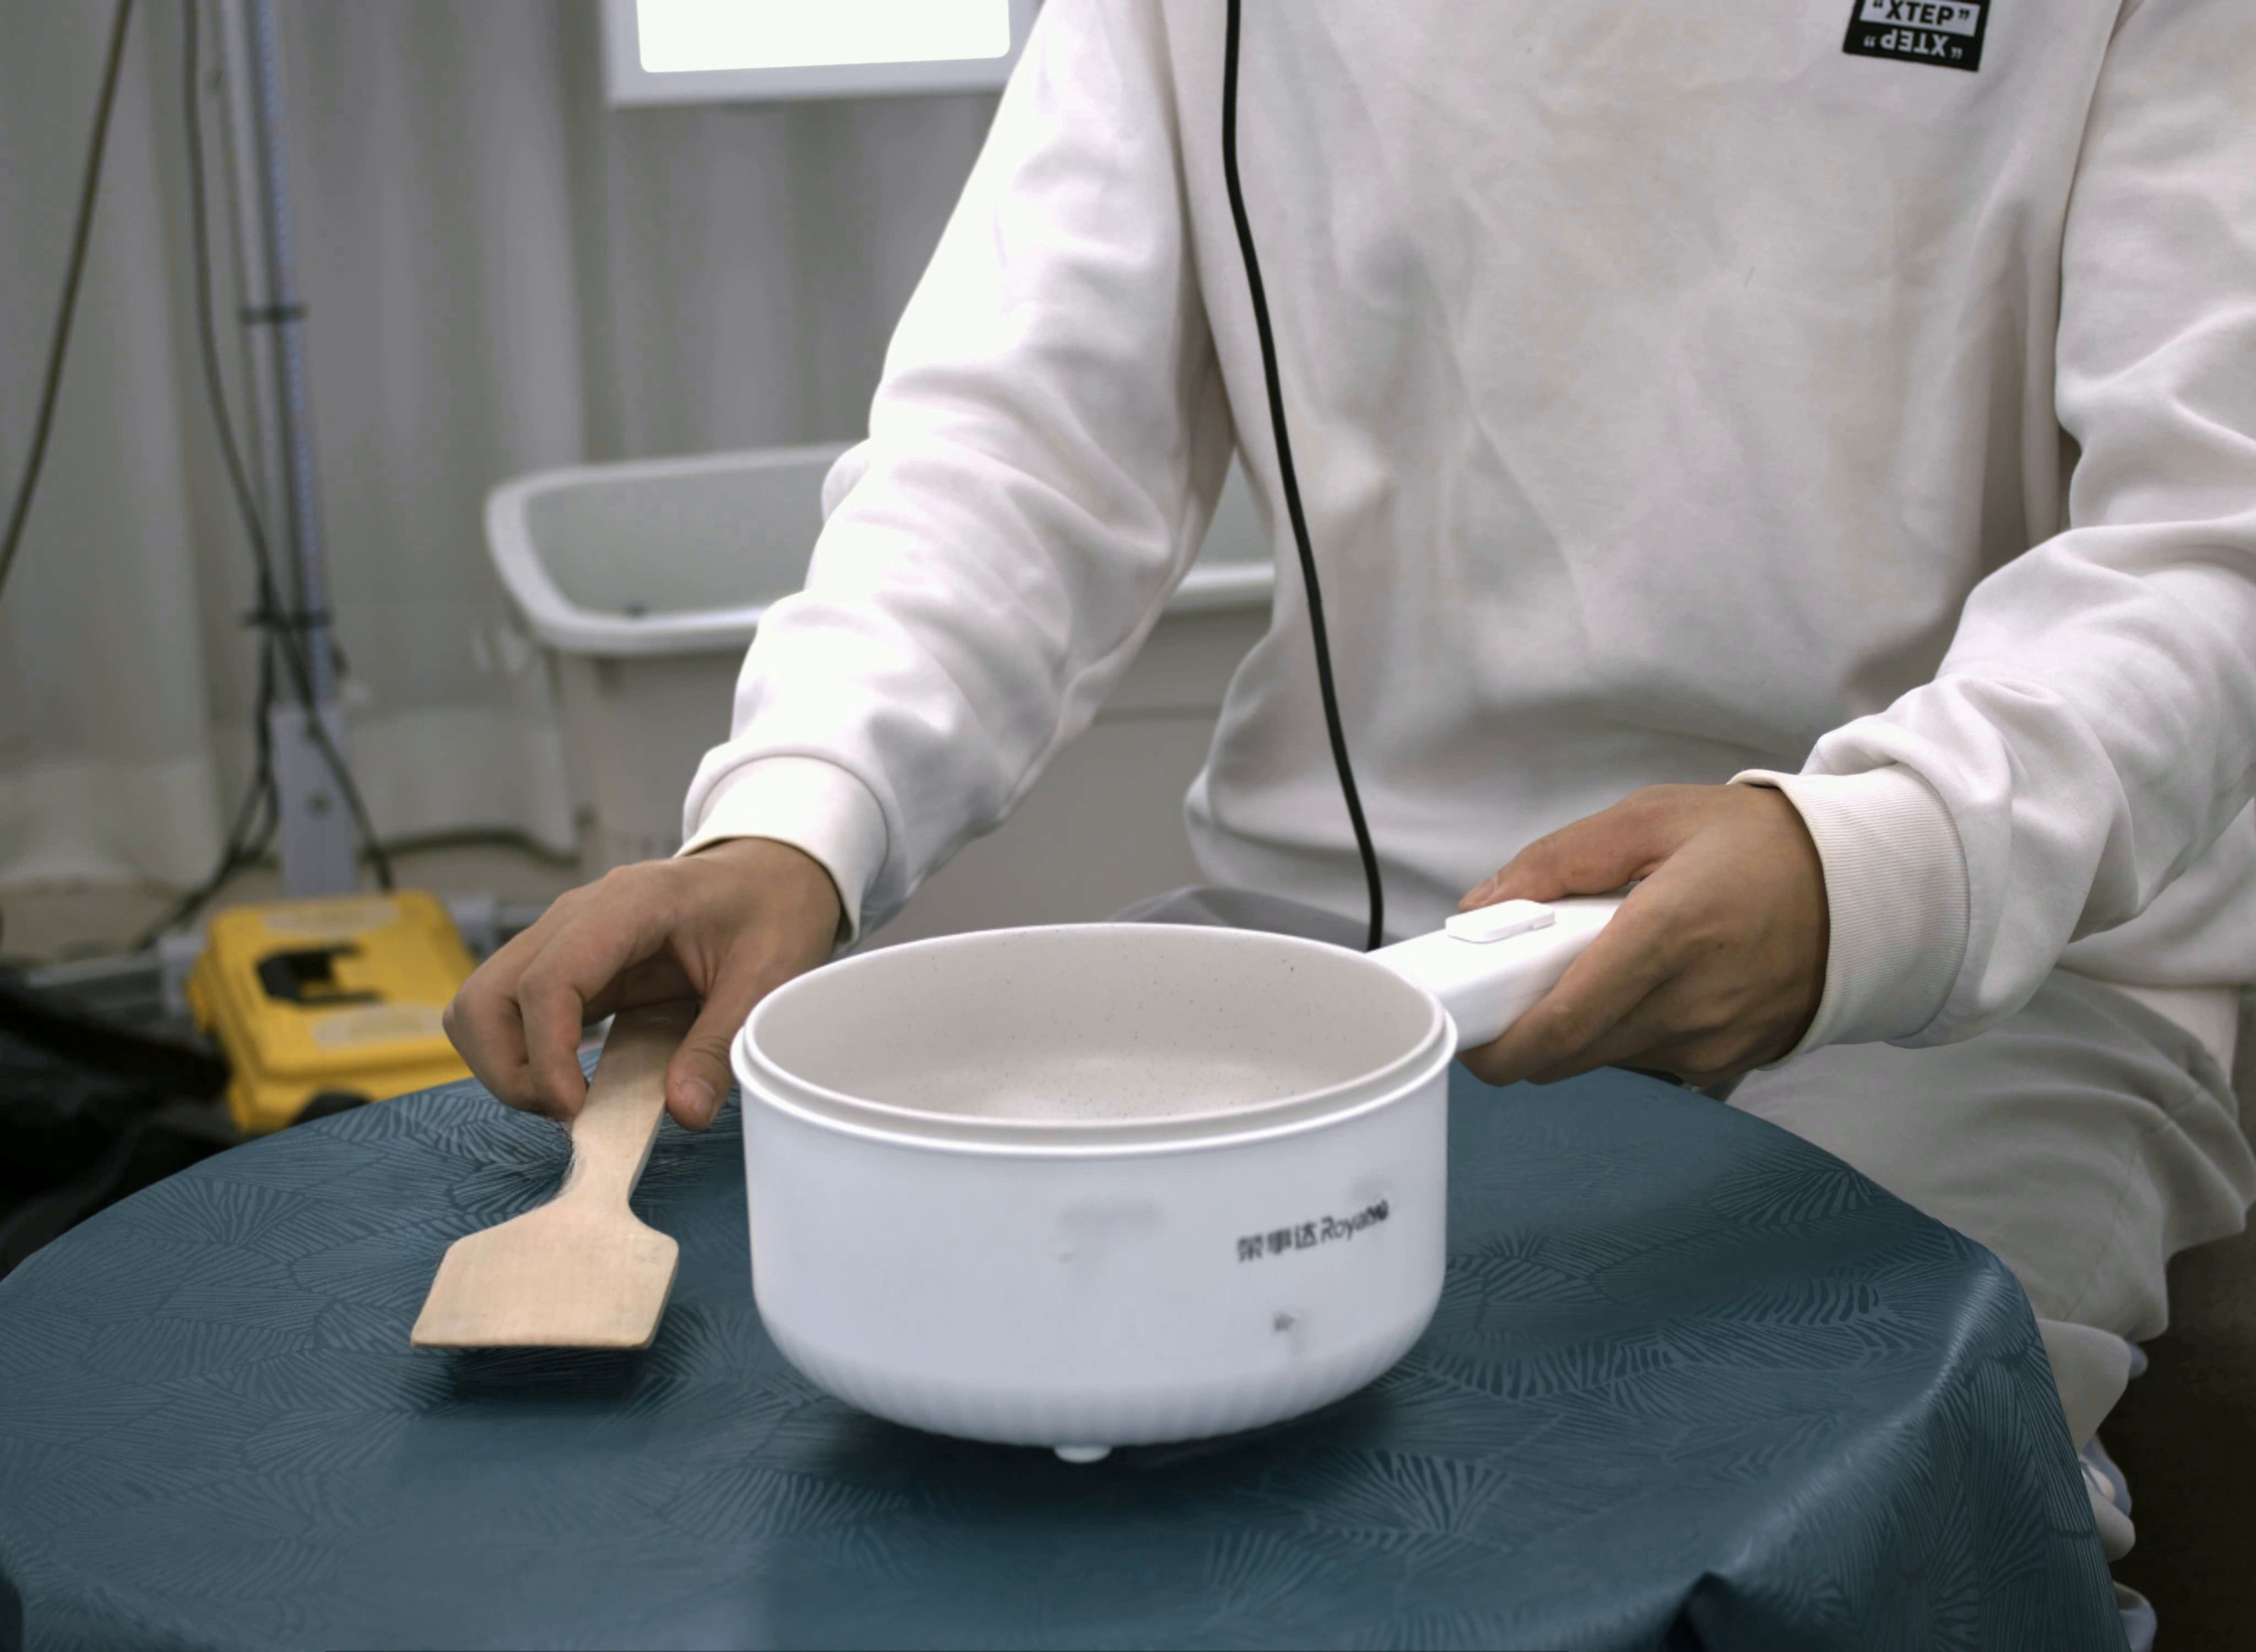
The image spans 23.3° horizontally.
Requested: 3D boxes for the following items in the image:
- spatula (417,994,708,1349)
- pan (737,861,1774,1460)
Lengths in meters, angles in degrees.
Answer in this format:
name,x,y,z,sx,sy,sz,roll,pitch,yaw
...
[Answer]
name,x,y,z,sx,sy,sz,roll,pitch,yaw
spatula,-0.163,0.105,1.697,0.072,0.010,0.295,-1,18,3
pan,0.050,0.088,1.571,0.353,0.102,0.202,-13,18,-40
